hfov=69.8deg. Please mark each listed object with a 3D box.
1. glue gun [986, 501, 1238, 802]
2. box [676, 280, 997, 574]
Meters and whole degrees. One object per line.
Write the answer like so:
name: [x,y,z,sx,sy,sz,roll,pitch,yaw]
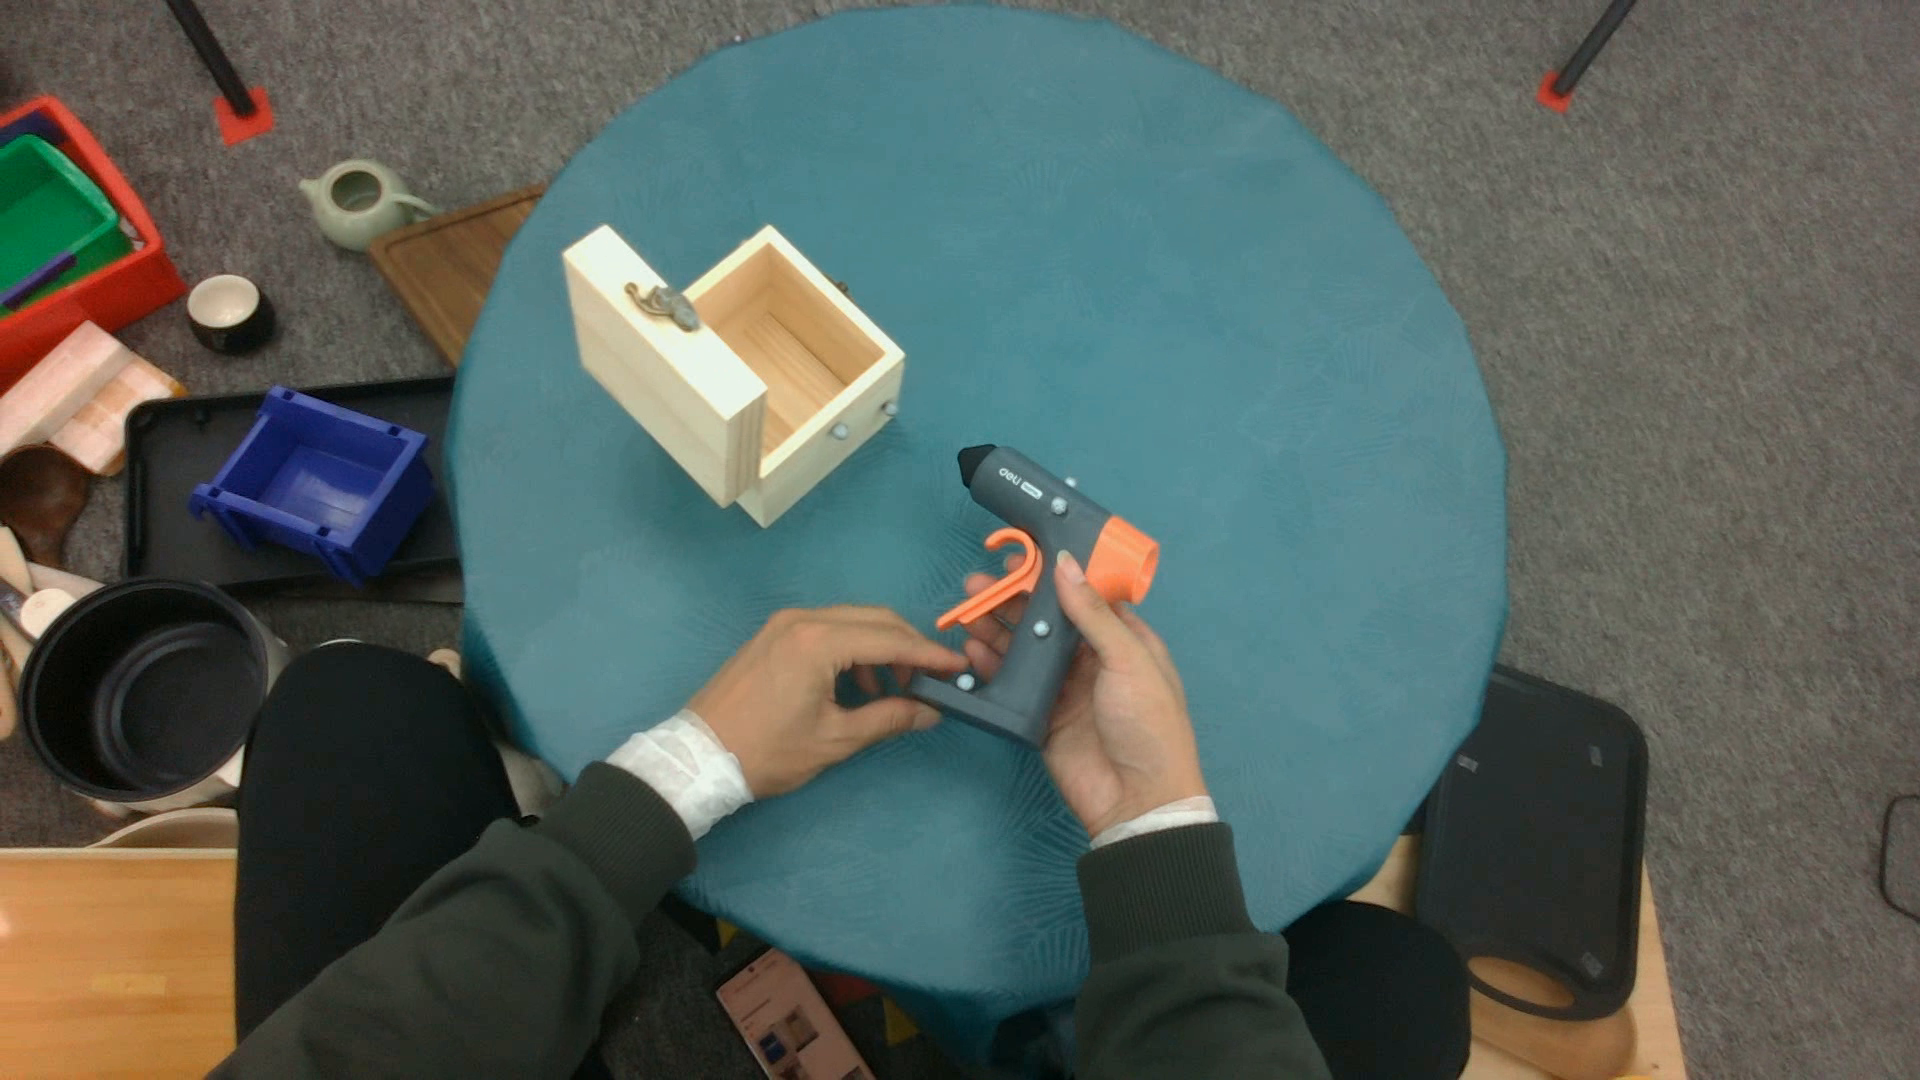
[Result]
glue gun: [0.069,0.052,0.698,0.118,0.041,0.140,18,73,29]
box: [-0.056,-0.074,0.701,0.134,0.184,0.102,-41,77,-19]
